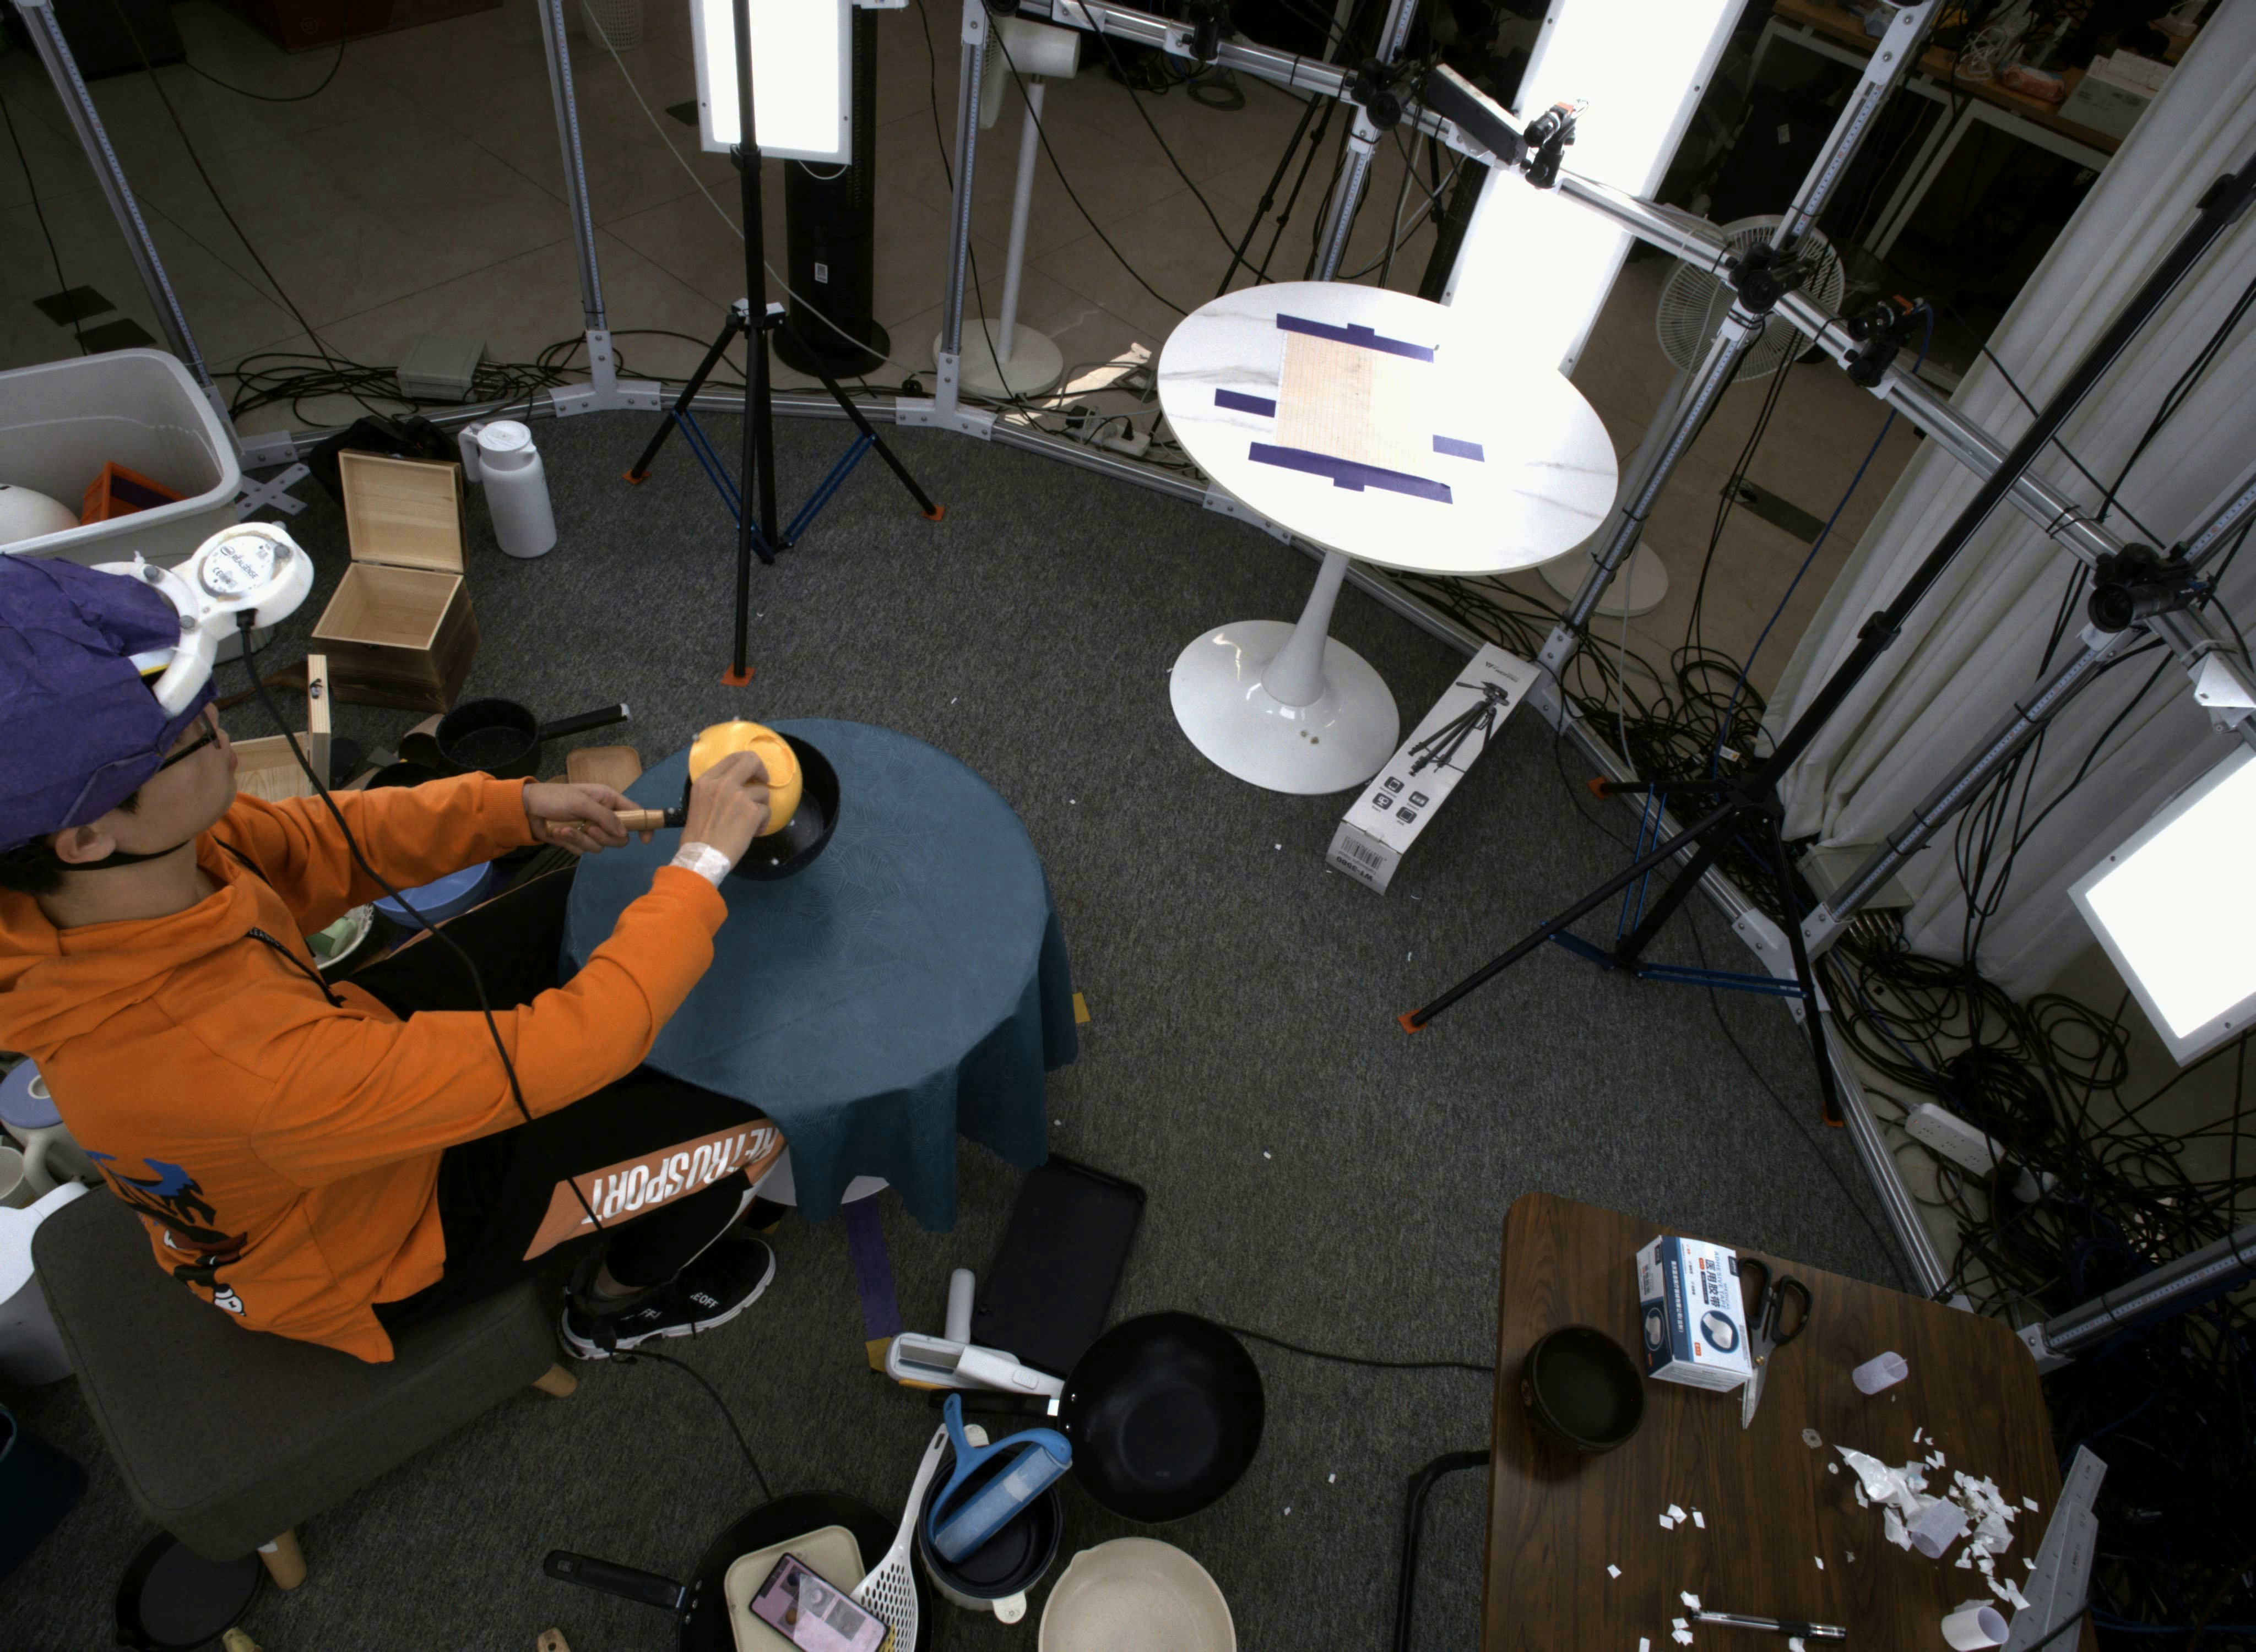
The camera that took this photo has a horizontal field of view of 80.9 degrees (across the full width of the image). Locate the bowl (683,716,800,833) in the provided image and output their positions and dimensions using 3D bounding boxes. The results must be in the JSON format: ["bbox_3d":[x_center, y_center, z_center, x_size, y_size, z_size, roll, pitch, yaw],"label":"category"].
[{"bbox_3d":[-0.431,-0.071,1.482,0.150,0.059,0.143,32,43,-33],"label":"bowl"}]

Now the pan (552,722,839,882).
[{"bbox_3d":[-0.516,-0.010,1.533,0.344,0.109,0.204,-12,66,-22],"label":"pan"}]
